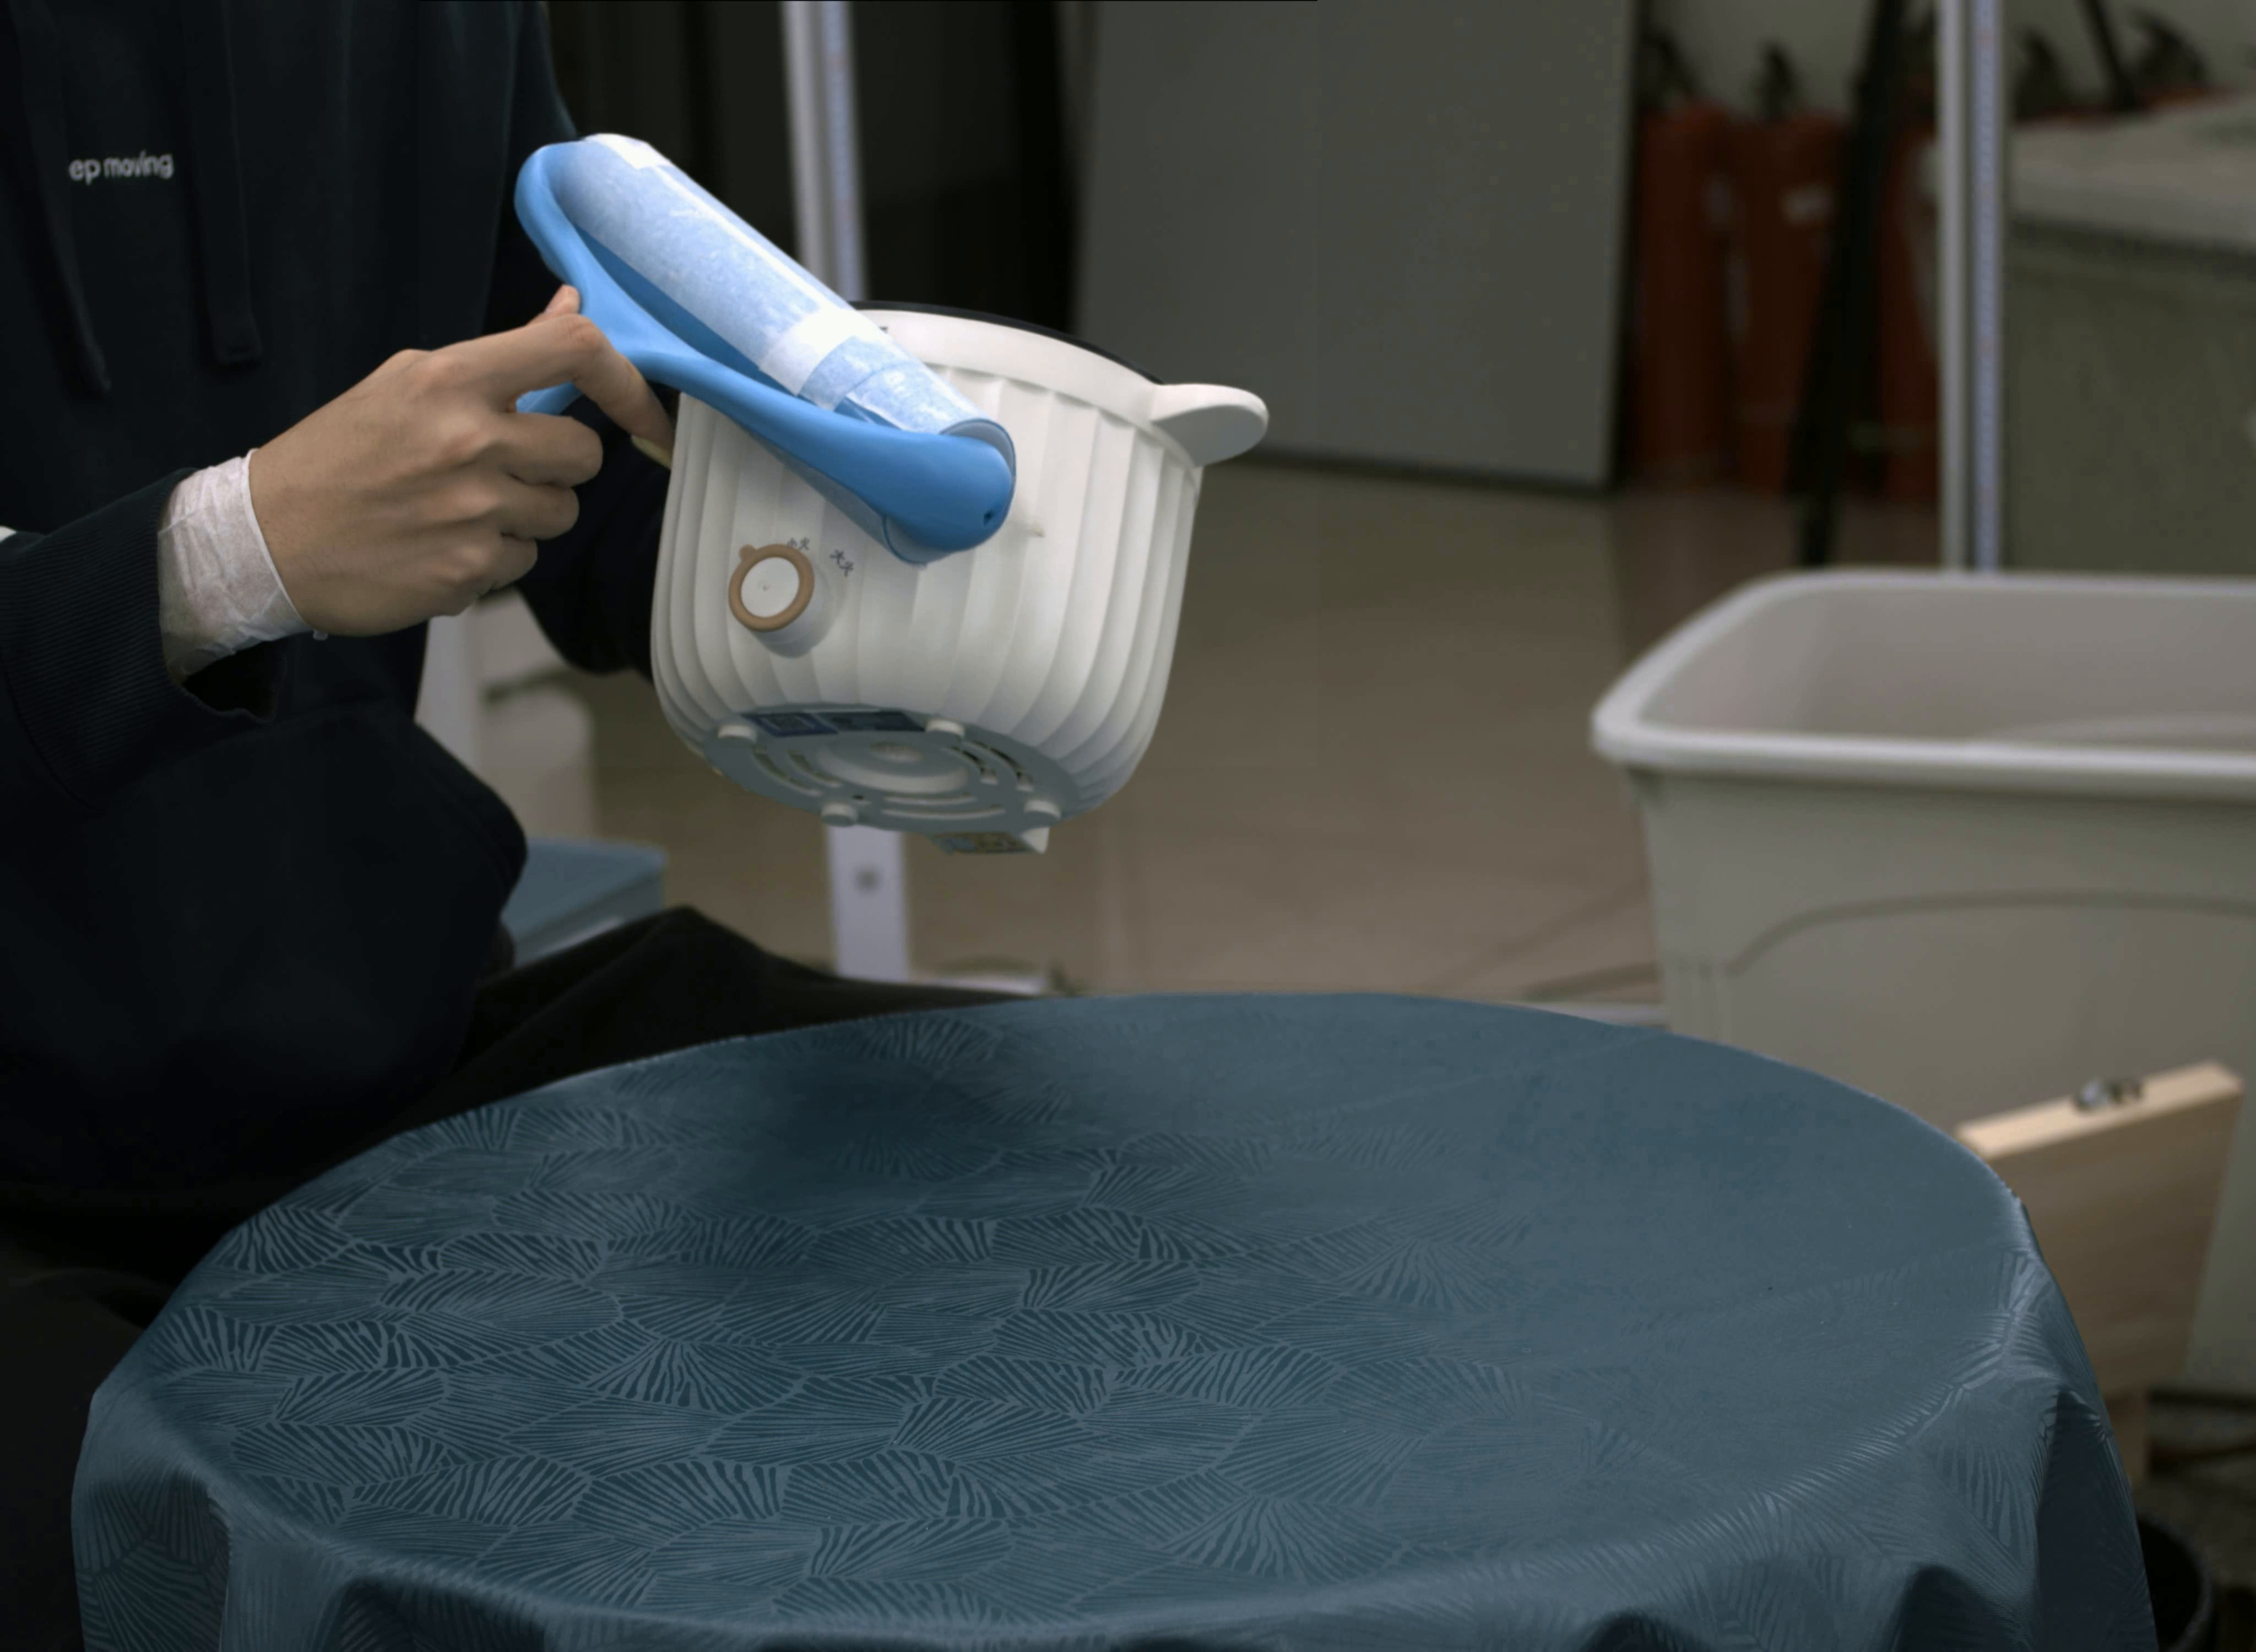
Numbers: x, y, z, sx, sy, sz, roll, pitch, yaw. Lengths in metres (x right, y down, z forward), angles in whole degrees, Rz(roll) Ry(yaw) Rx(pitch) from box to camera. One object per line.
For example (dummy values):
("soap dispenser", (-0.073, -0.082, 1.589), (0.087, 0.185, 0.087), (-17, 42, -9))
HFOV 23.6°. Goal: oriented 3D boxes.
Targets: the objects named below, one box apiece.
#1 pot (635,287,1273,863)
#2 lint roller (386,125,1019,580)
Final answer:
("pot", (-0.071, -0.082, 1.825), (0.240, 0.144, 0.188), (-2, -25, 24))
("lint roller", (-0.158, -0.137, 1.720), (0.177, 0.068, 0.231), (-29, 51, -33))
